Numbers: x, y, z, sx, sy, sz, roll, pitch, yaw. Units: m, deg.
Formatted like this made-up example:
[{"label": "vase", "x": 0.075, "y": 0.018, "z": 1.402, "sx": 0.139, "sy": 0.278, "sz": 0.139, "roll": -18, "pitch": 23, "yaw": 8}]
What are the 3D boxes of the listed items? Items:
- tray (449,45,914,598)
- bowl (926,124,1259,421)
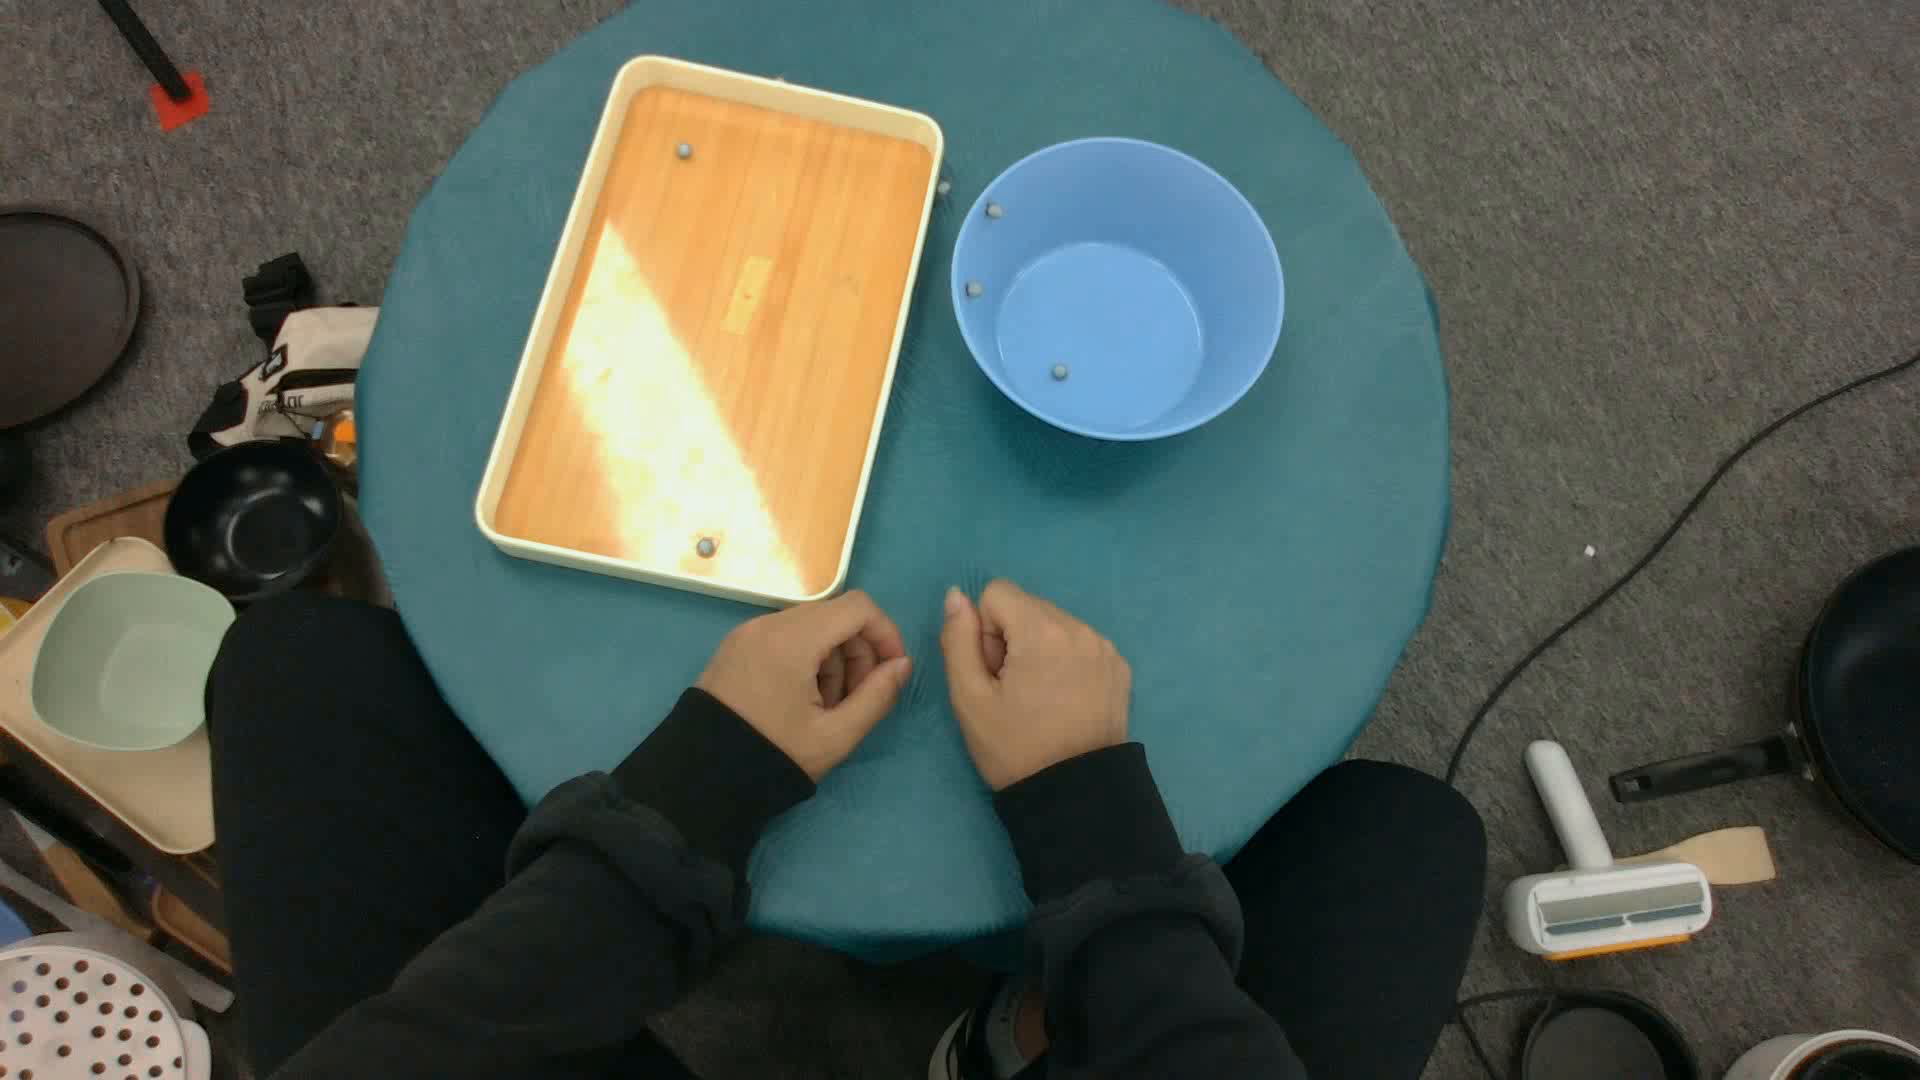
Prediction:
[{"label": "tray", "x": -0.143, "y": -0.126, "z": 0.750, "sx": 0.191, "sy": 0.027, "sz": 0.301, "roll": 11, "pitch": 71, "yaw": -1}, {"label": "bowl", "x": 0.068, "y": -0.133, "z": 0.748, "sx": 0.176, "sy": 0.070, "sz": 0.176, "roll": 1, "pitch": 71, "yaw": -4}]
